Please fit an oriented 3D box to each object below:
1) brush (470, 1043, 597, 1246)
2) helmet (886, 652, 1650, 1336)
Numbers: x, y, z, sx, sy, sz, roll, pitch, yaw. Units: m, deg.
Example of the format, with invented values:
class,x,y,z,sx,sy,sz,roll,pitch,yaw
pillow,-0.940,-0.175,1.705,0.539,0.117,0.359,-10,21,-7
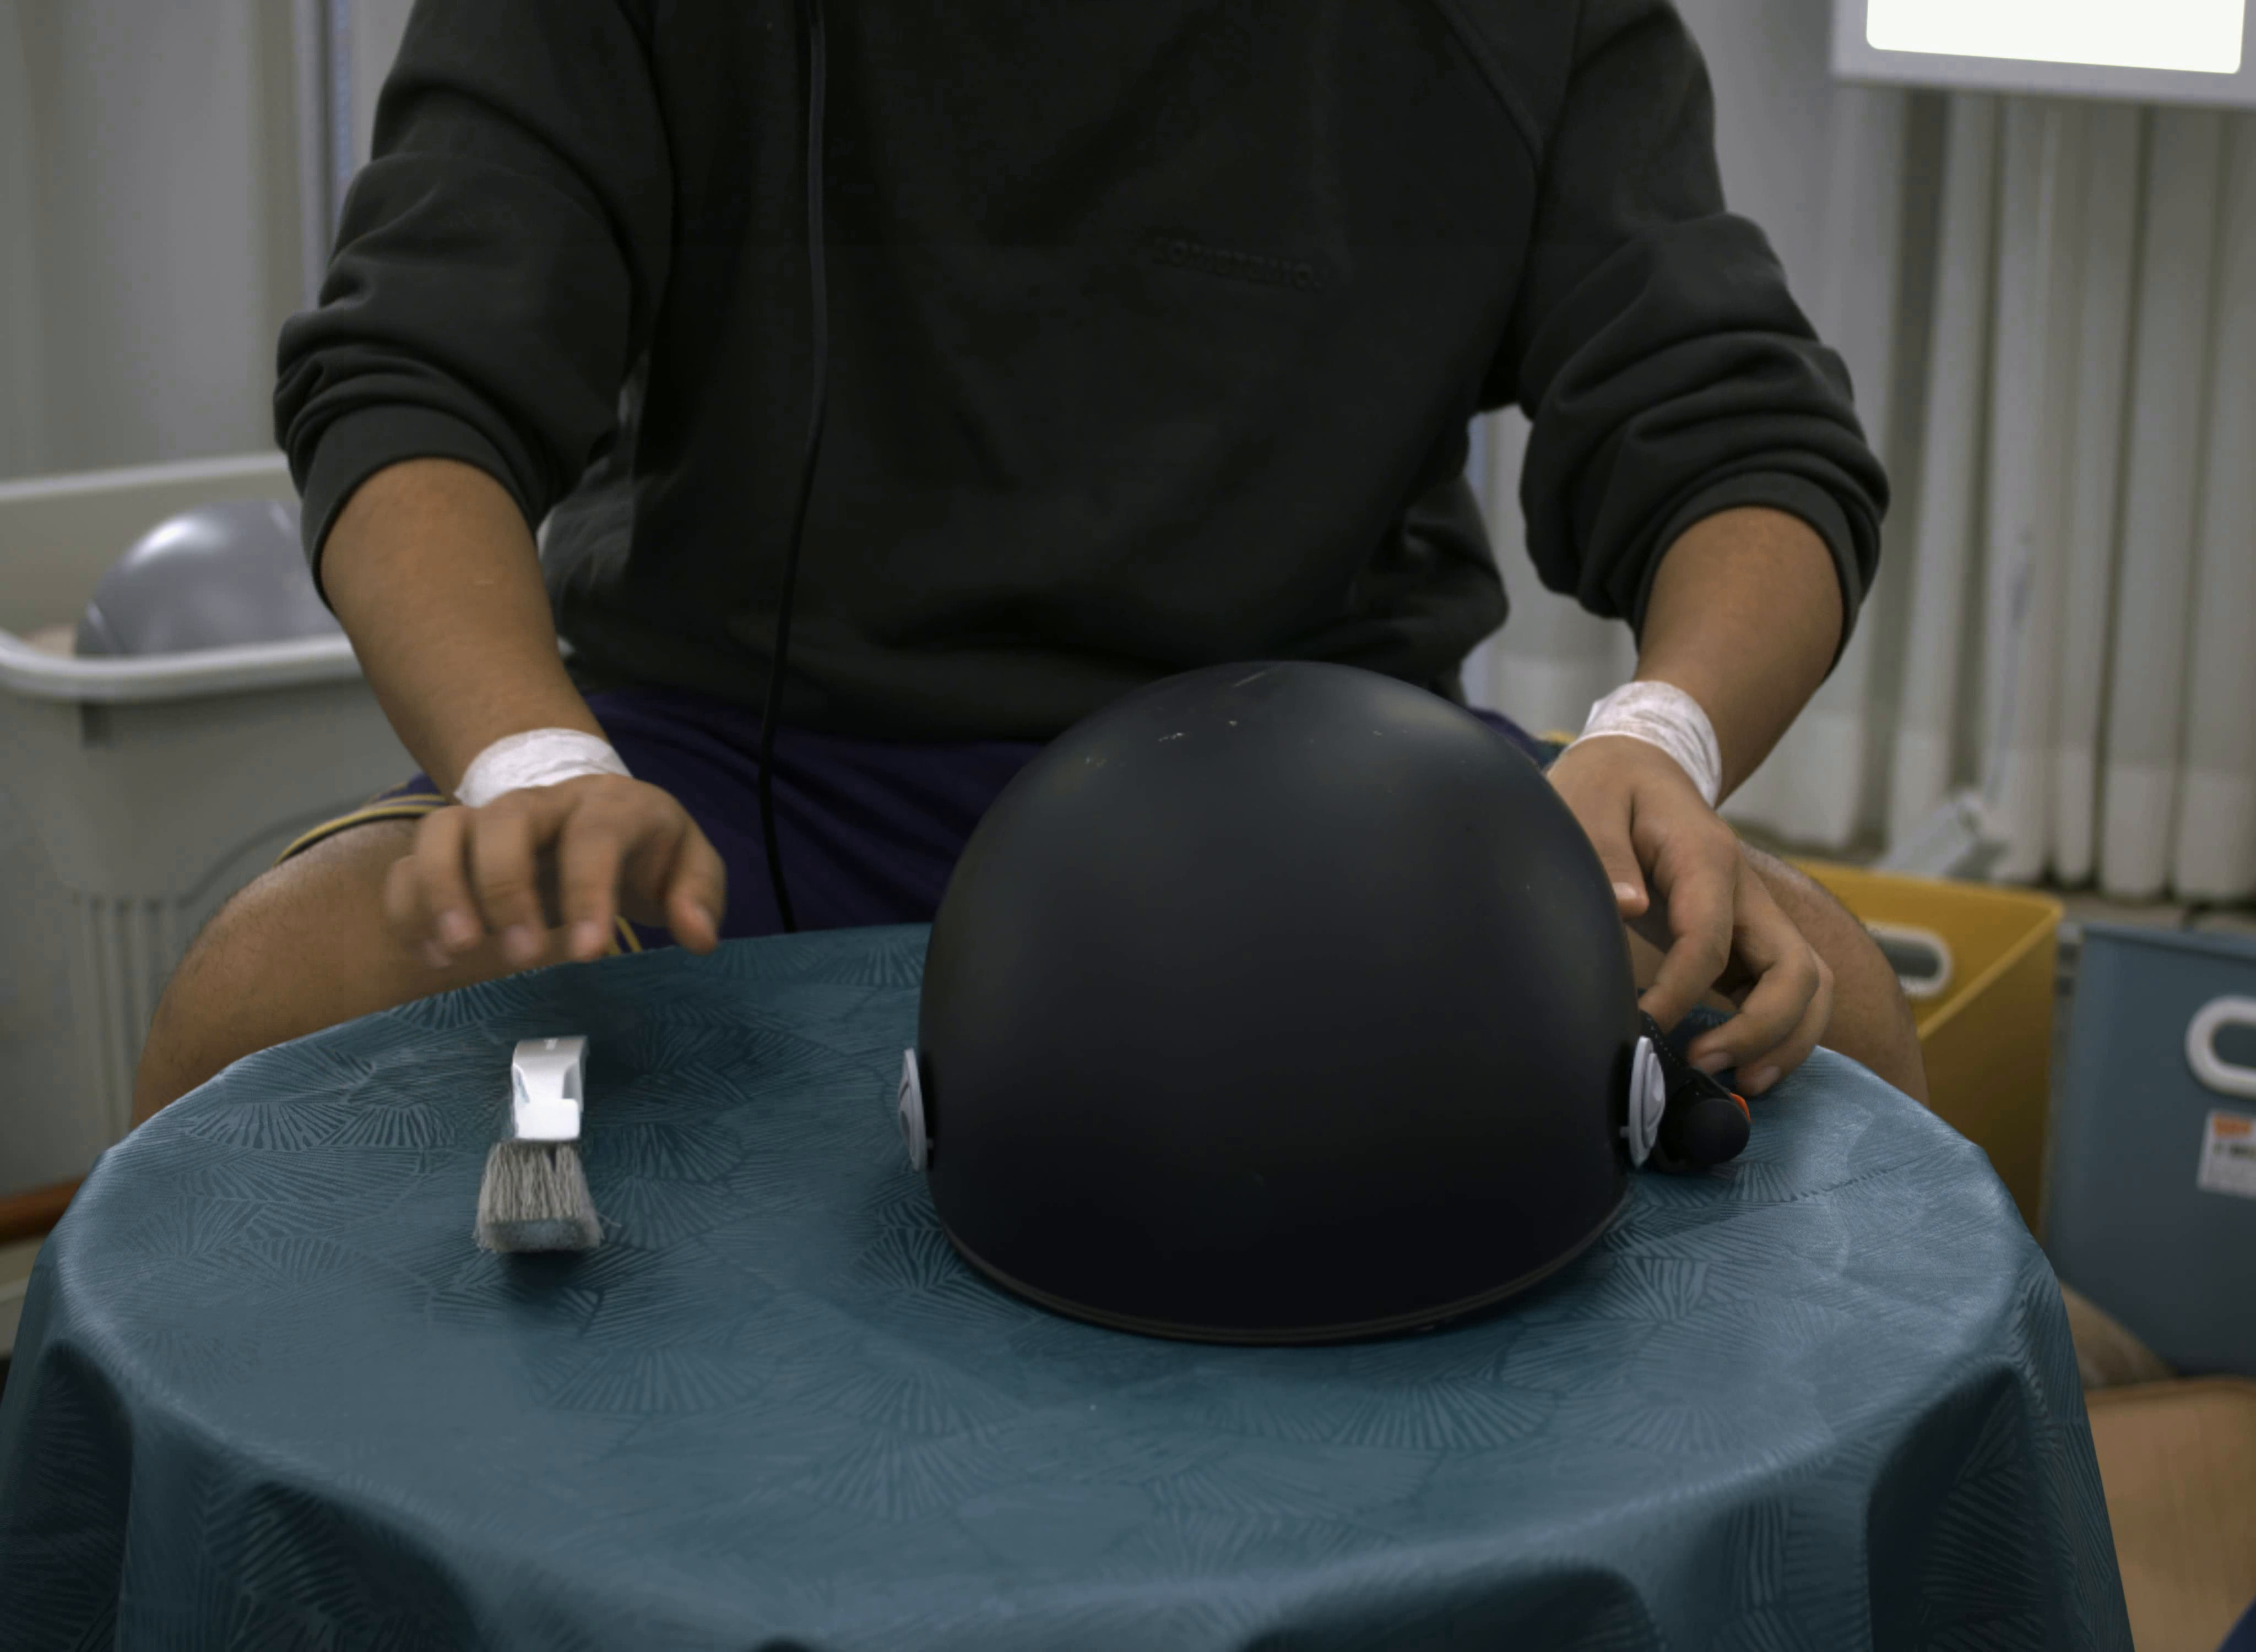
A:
class,x,y,z,sx,sy,sz,roll,pitch,yaw
brush,-0.182,0.097,1.627,0.034,0.050,0.243,-5,2,-5
helmet,0.043,0.037,1.599,0.229,0.168,0.272,-1,18,5
